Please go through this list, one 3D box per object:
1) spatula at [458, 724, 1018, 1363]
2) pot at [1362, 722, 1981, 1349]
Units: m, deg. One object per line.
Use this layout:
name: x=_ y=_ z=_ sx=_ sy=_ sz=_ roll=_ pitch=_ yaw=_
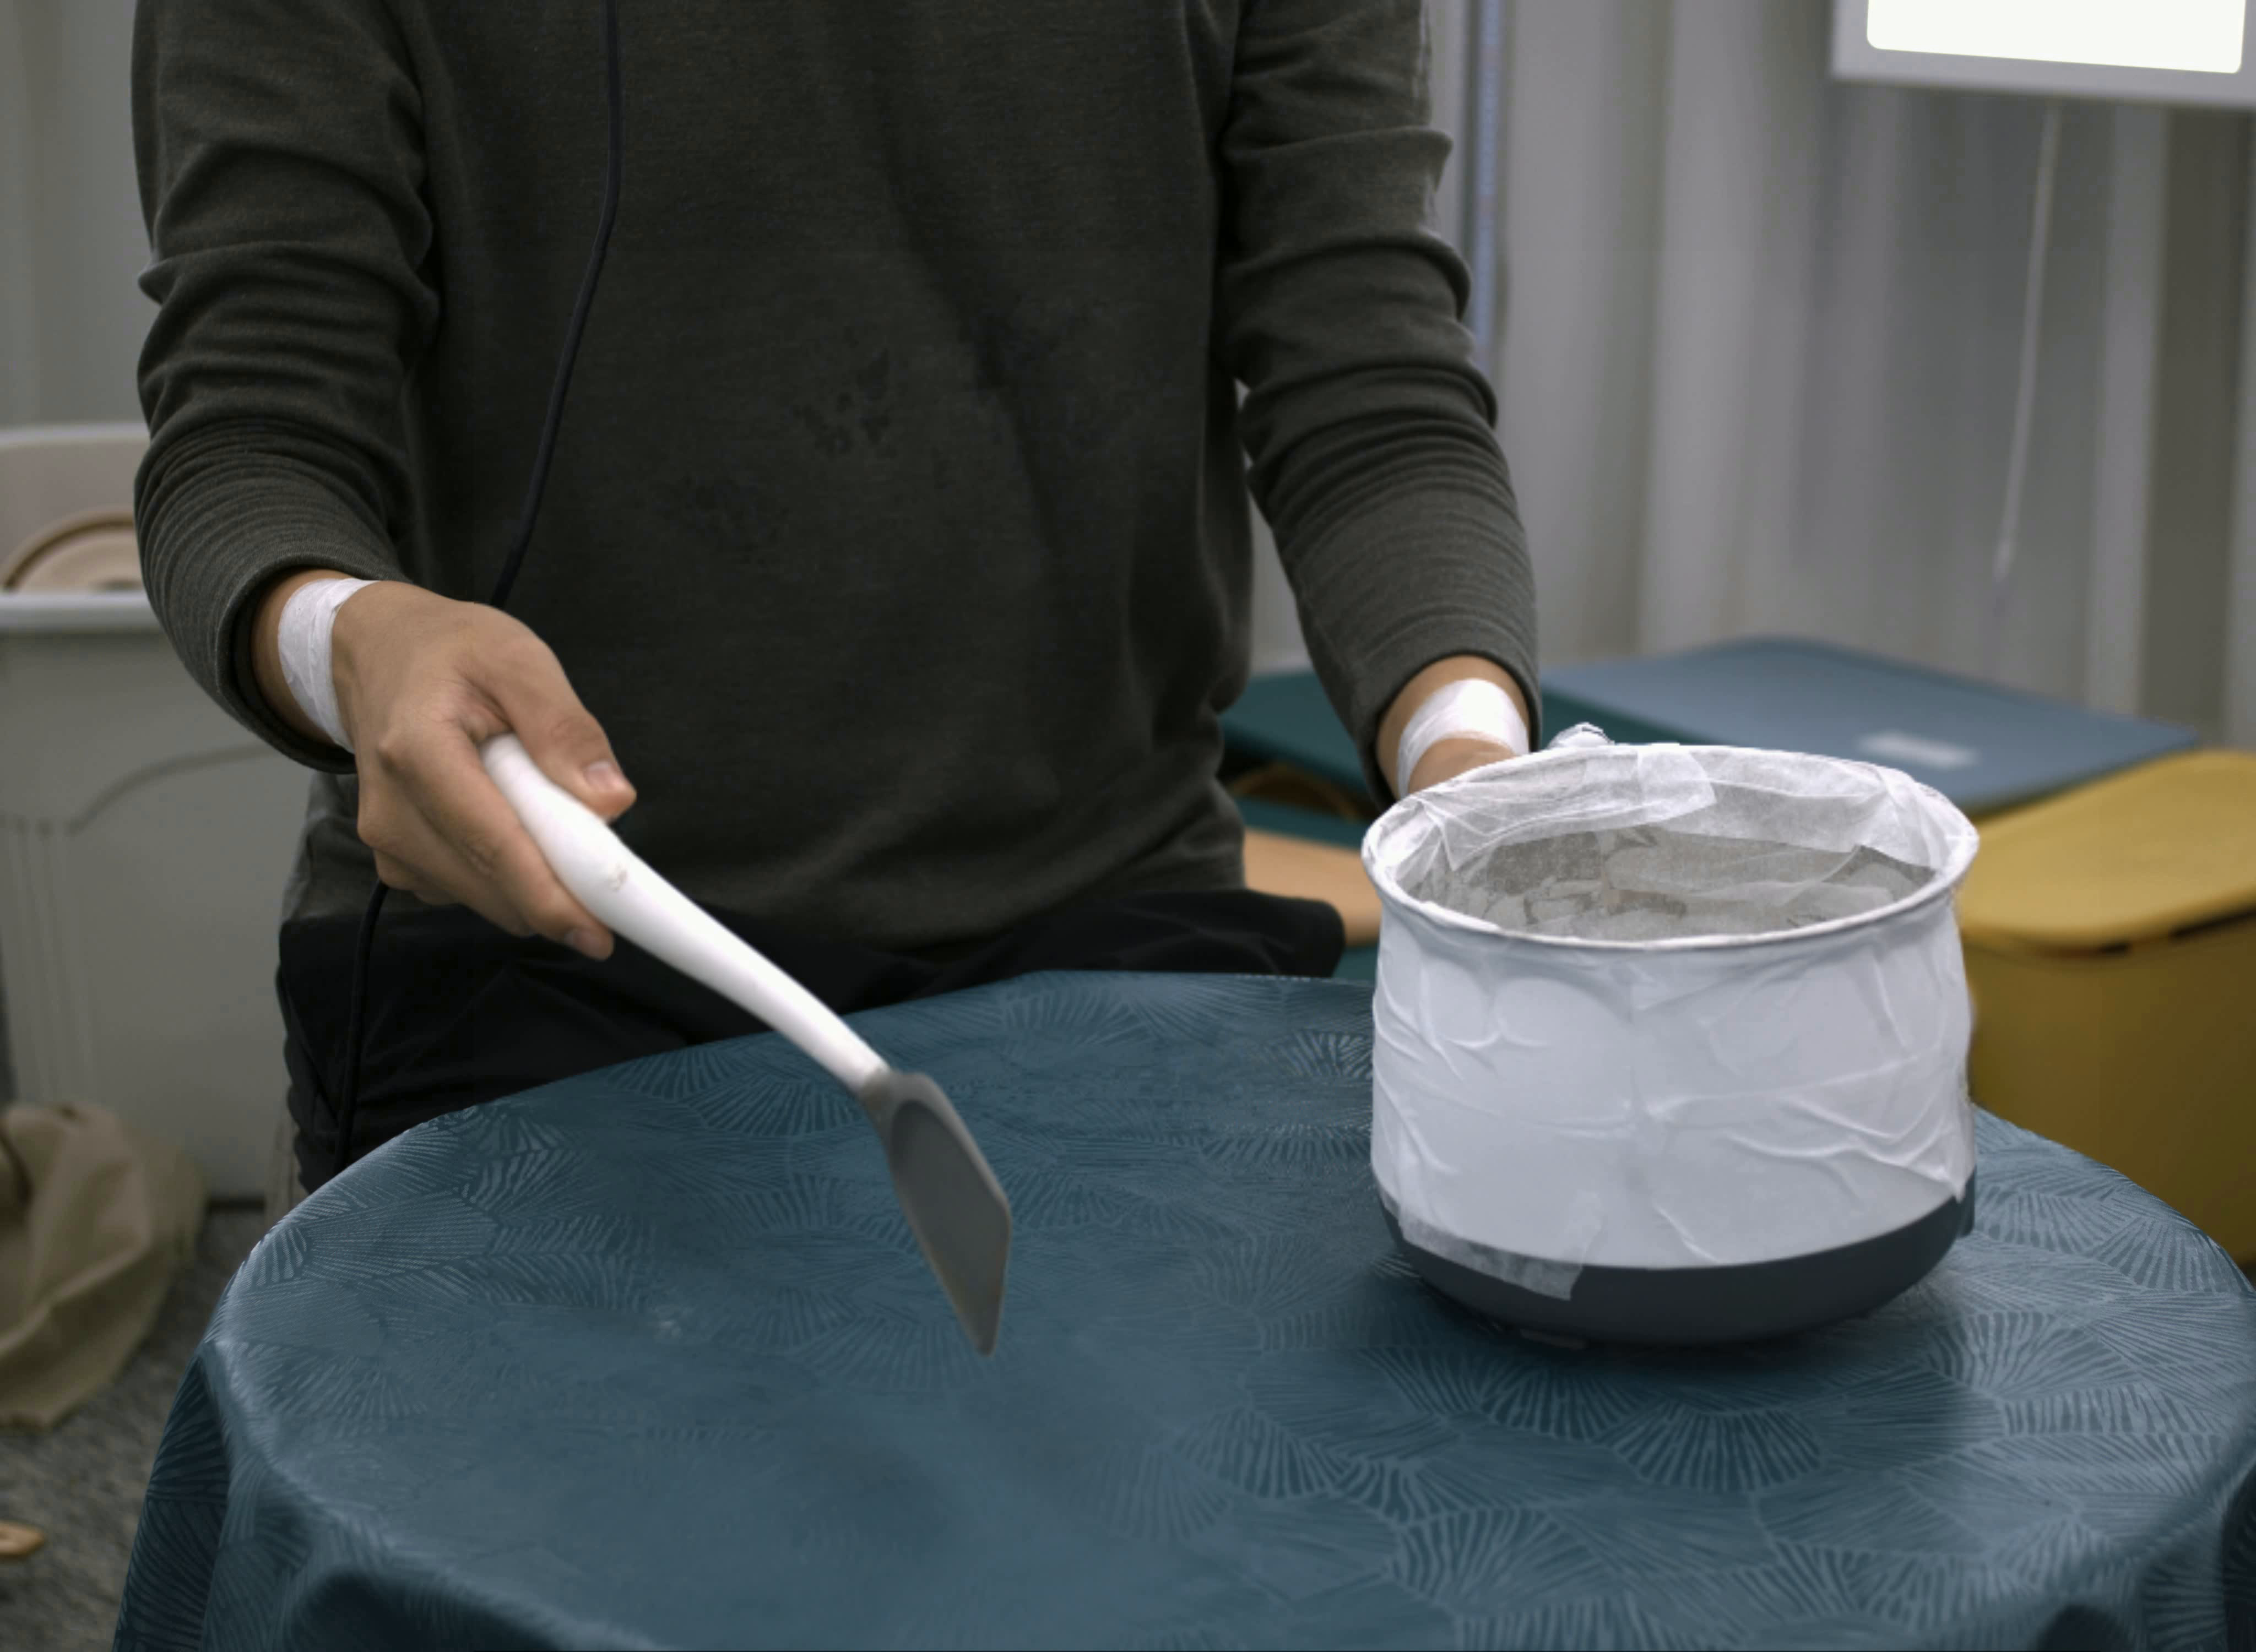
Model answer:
spatula: x=-0.104 y=0.051 z=1.465 sx=0.032 sy=0.059 sz=0.283 roll=-14 pitch=37 yaw=-34
pot: x=0.153 y=0.055 z=1.556 sx=0.178 sy=0.138 sz=0.231 roll=-6 pitch=19 yaw=-10
